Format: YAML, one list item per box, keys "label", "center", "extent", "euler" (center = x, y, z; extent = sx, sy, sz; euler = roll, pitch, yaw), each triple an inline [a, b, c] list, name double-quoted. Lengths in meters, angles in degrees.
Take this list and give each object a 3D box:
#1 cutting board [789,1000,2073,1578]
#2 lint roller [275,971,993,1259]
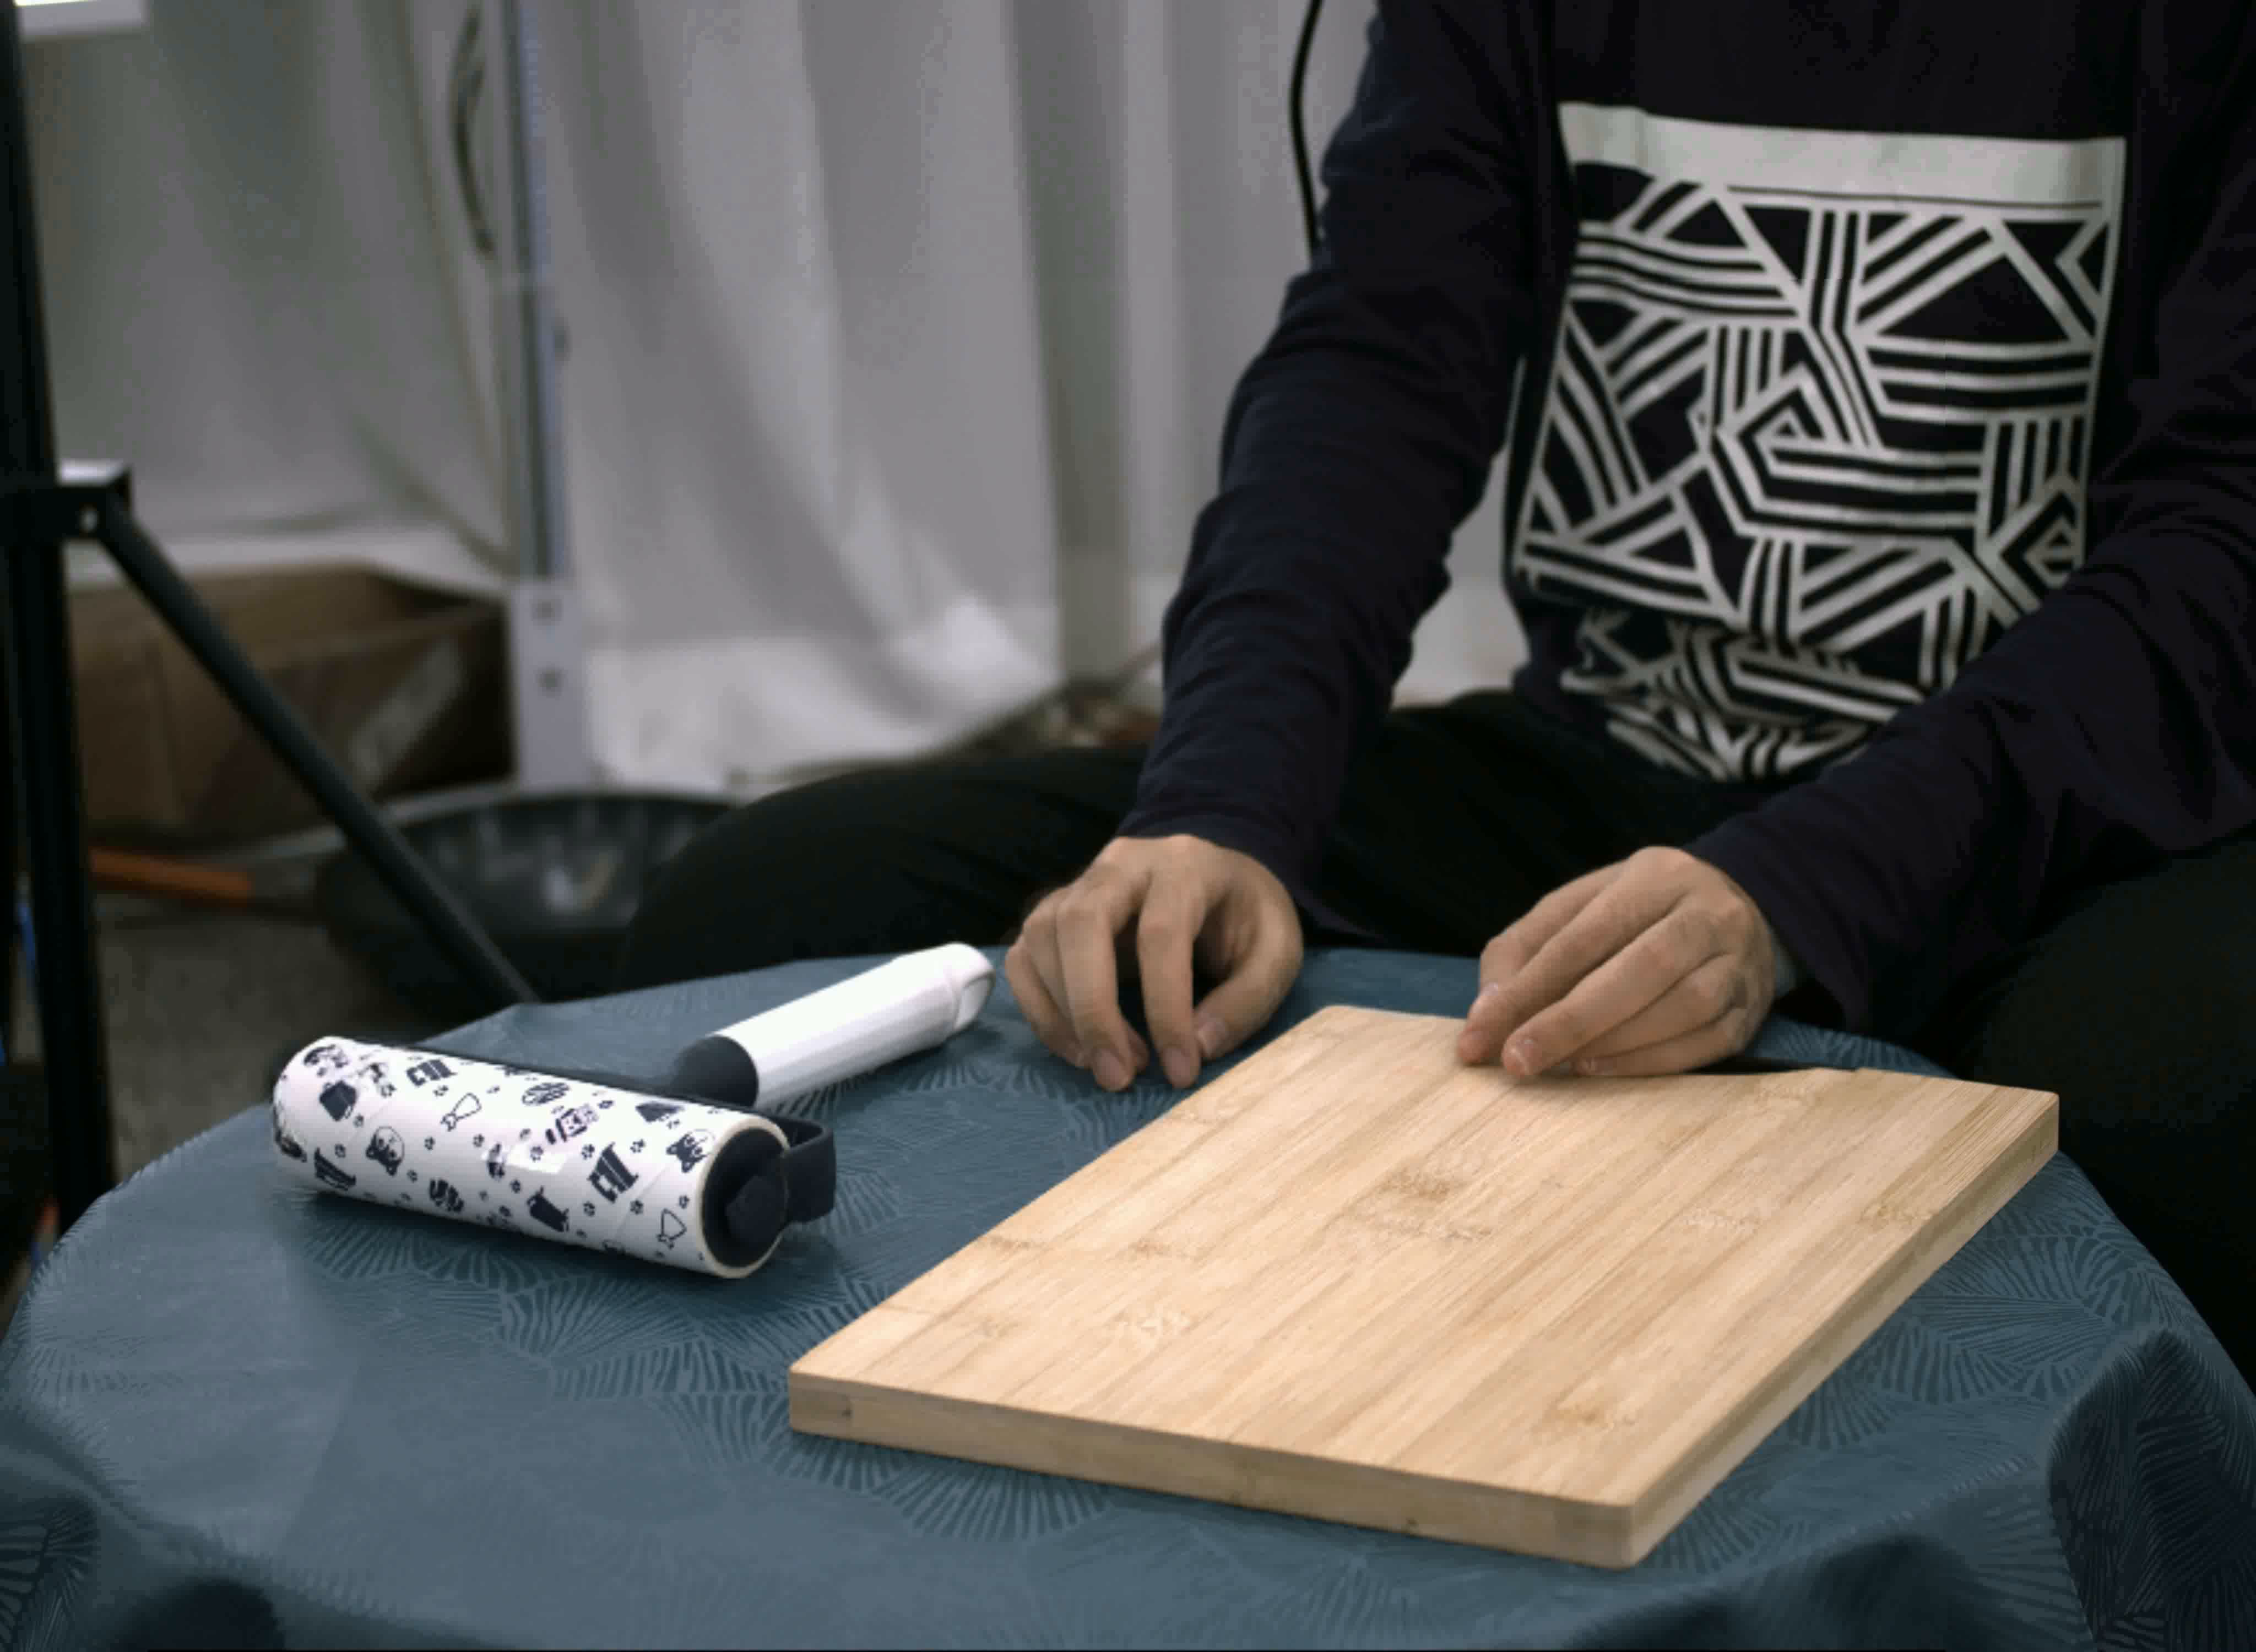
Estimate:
- label: "cutting board"
  center: [0.095, 0.119, 1.480]
  extent: [0.255, 0.023, 0.343]
  euler: [6, 18, 27]
- label: "lint roller"
  center: [-0.119, 0.073, 1.630]
  extent: [0.180, 0.050, 0.242]
  euler: [7, 16, 34]
